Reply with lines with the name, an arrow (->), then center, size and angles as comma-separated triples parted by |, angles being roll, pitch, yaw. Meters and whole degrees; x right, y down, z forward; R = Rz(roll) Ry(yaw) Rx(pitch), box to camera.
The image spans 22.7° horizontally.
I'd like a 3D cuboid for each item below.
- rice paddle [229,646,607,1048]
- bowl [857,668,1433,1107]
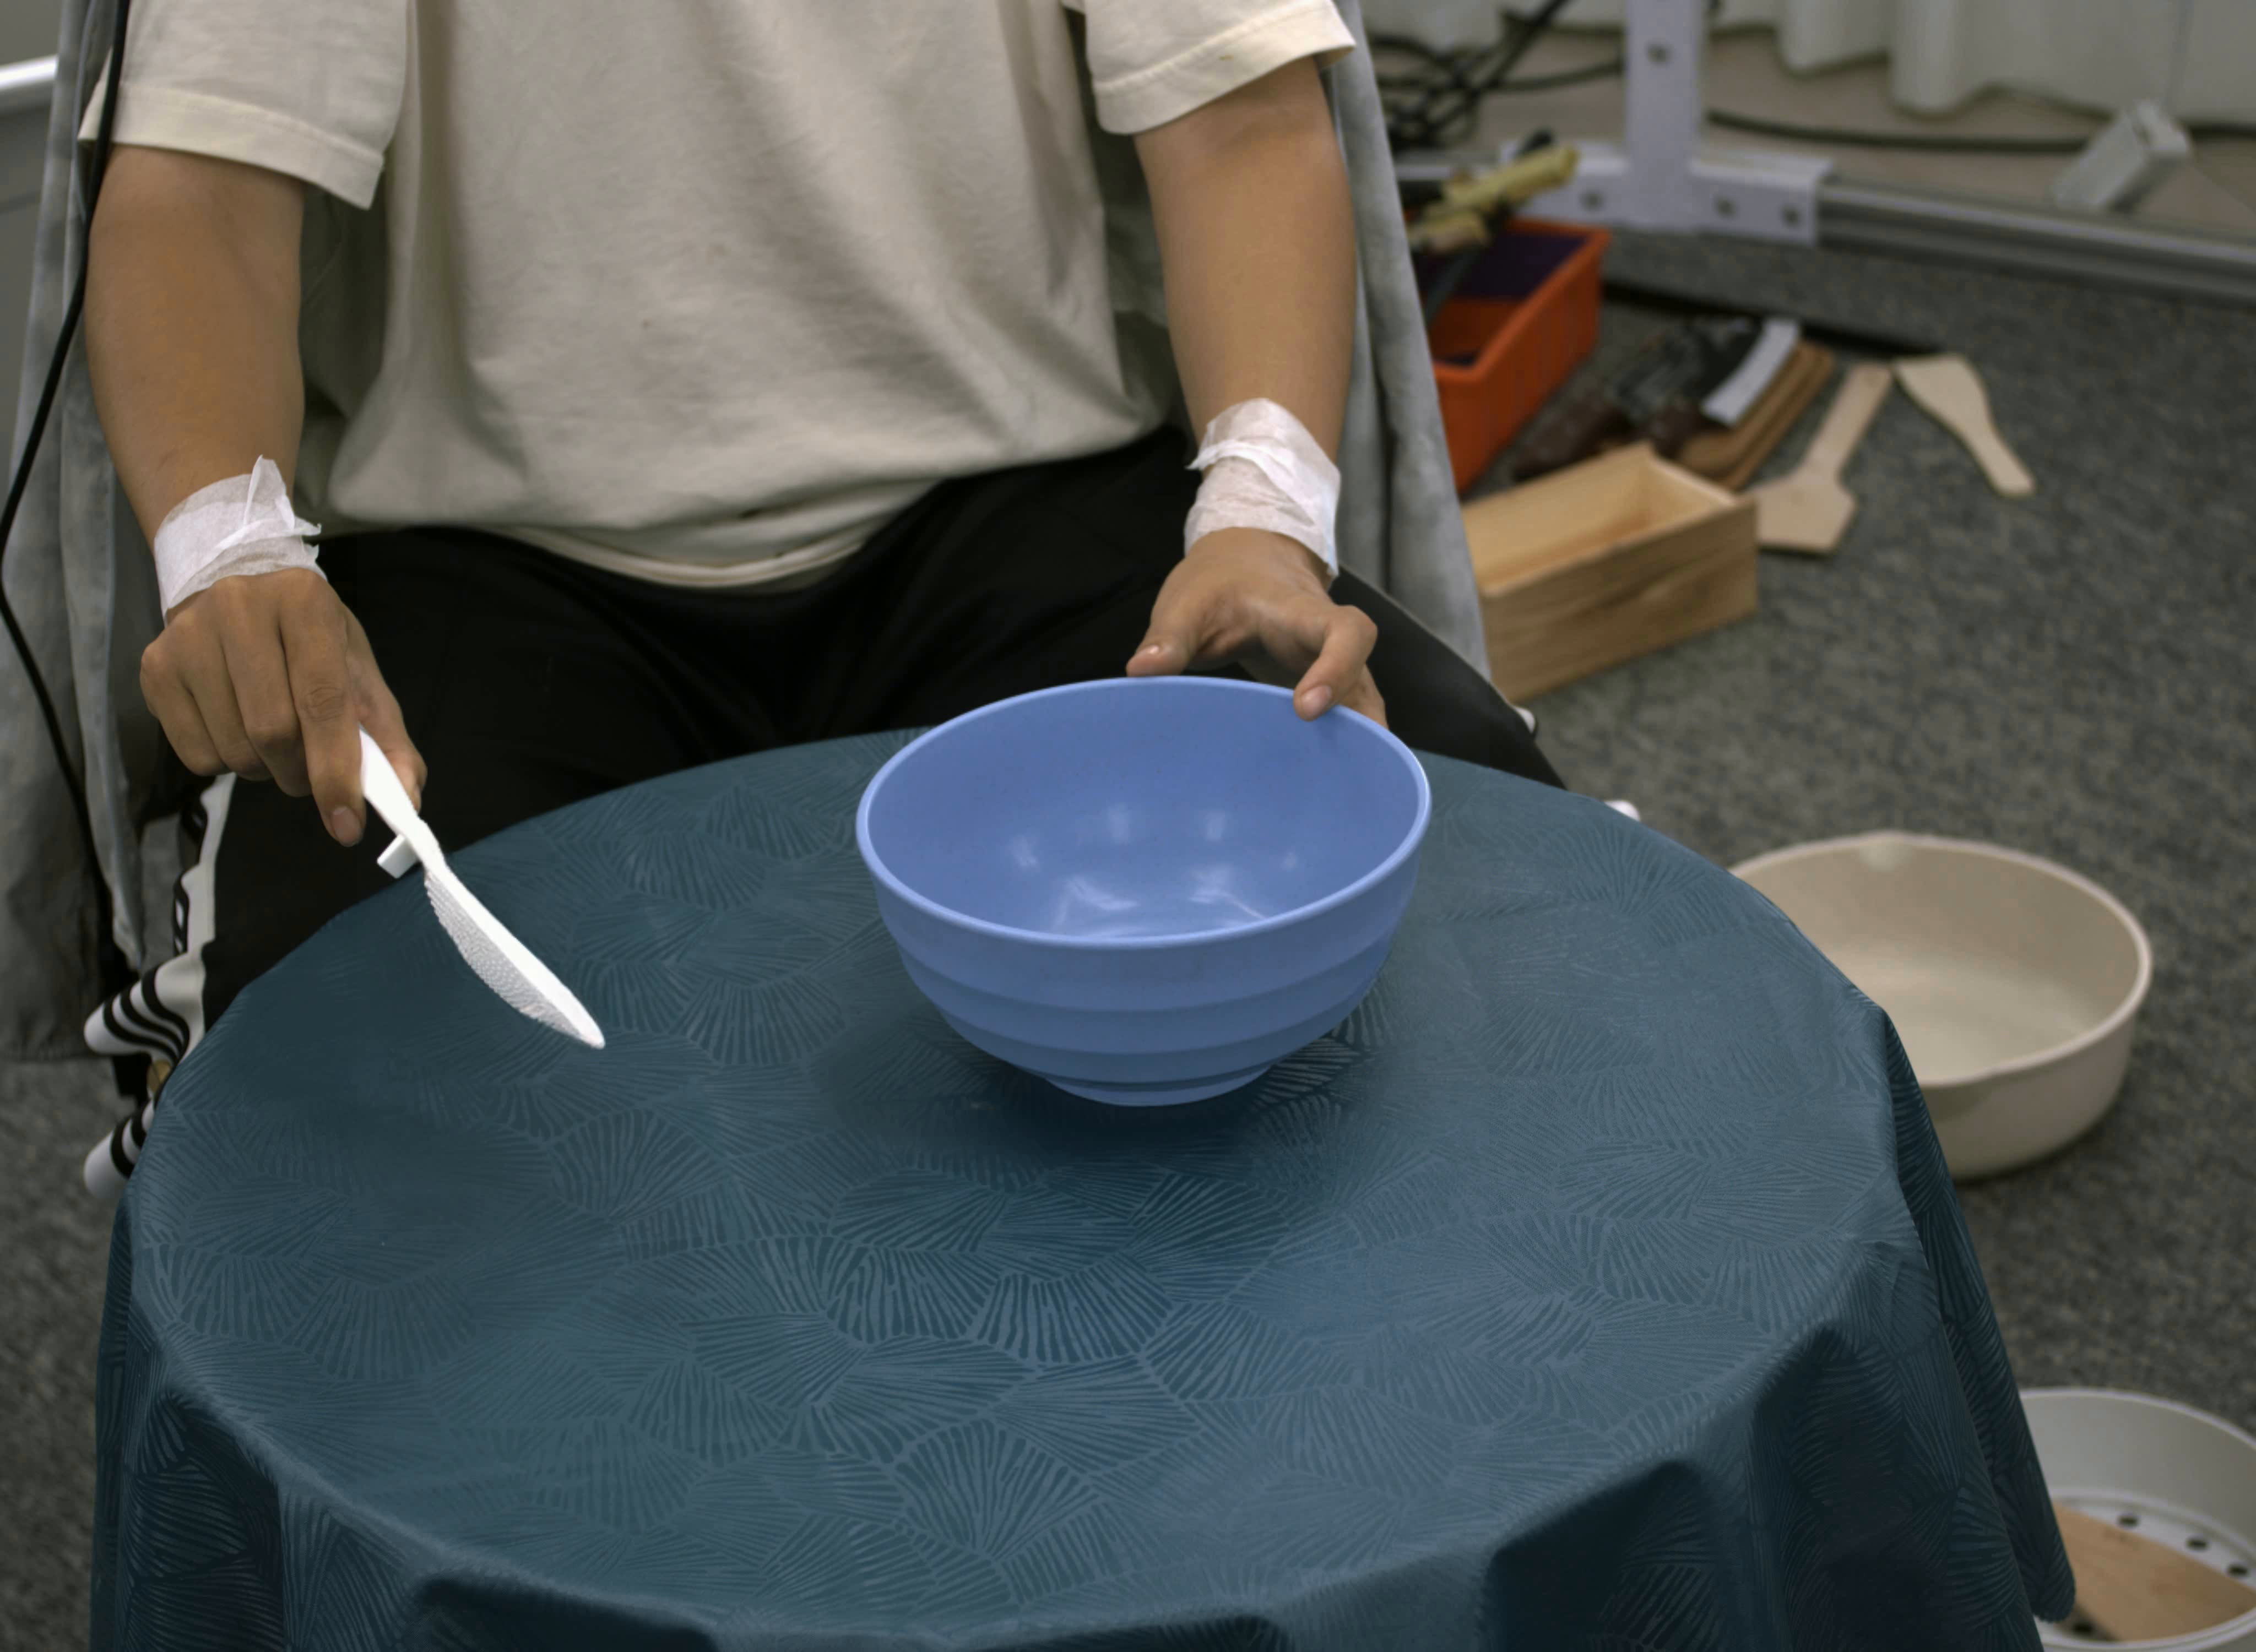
rice paddle -> -0.233, 0.009, 1.869 | 0.029, 0.068, 0.206 | -45, 55, -2
bowl -> 0.008, 0.032, 1.929 | 0.195, 0.094, 0.199 | -2, 29, 2
